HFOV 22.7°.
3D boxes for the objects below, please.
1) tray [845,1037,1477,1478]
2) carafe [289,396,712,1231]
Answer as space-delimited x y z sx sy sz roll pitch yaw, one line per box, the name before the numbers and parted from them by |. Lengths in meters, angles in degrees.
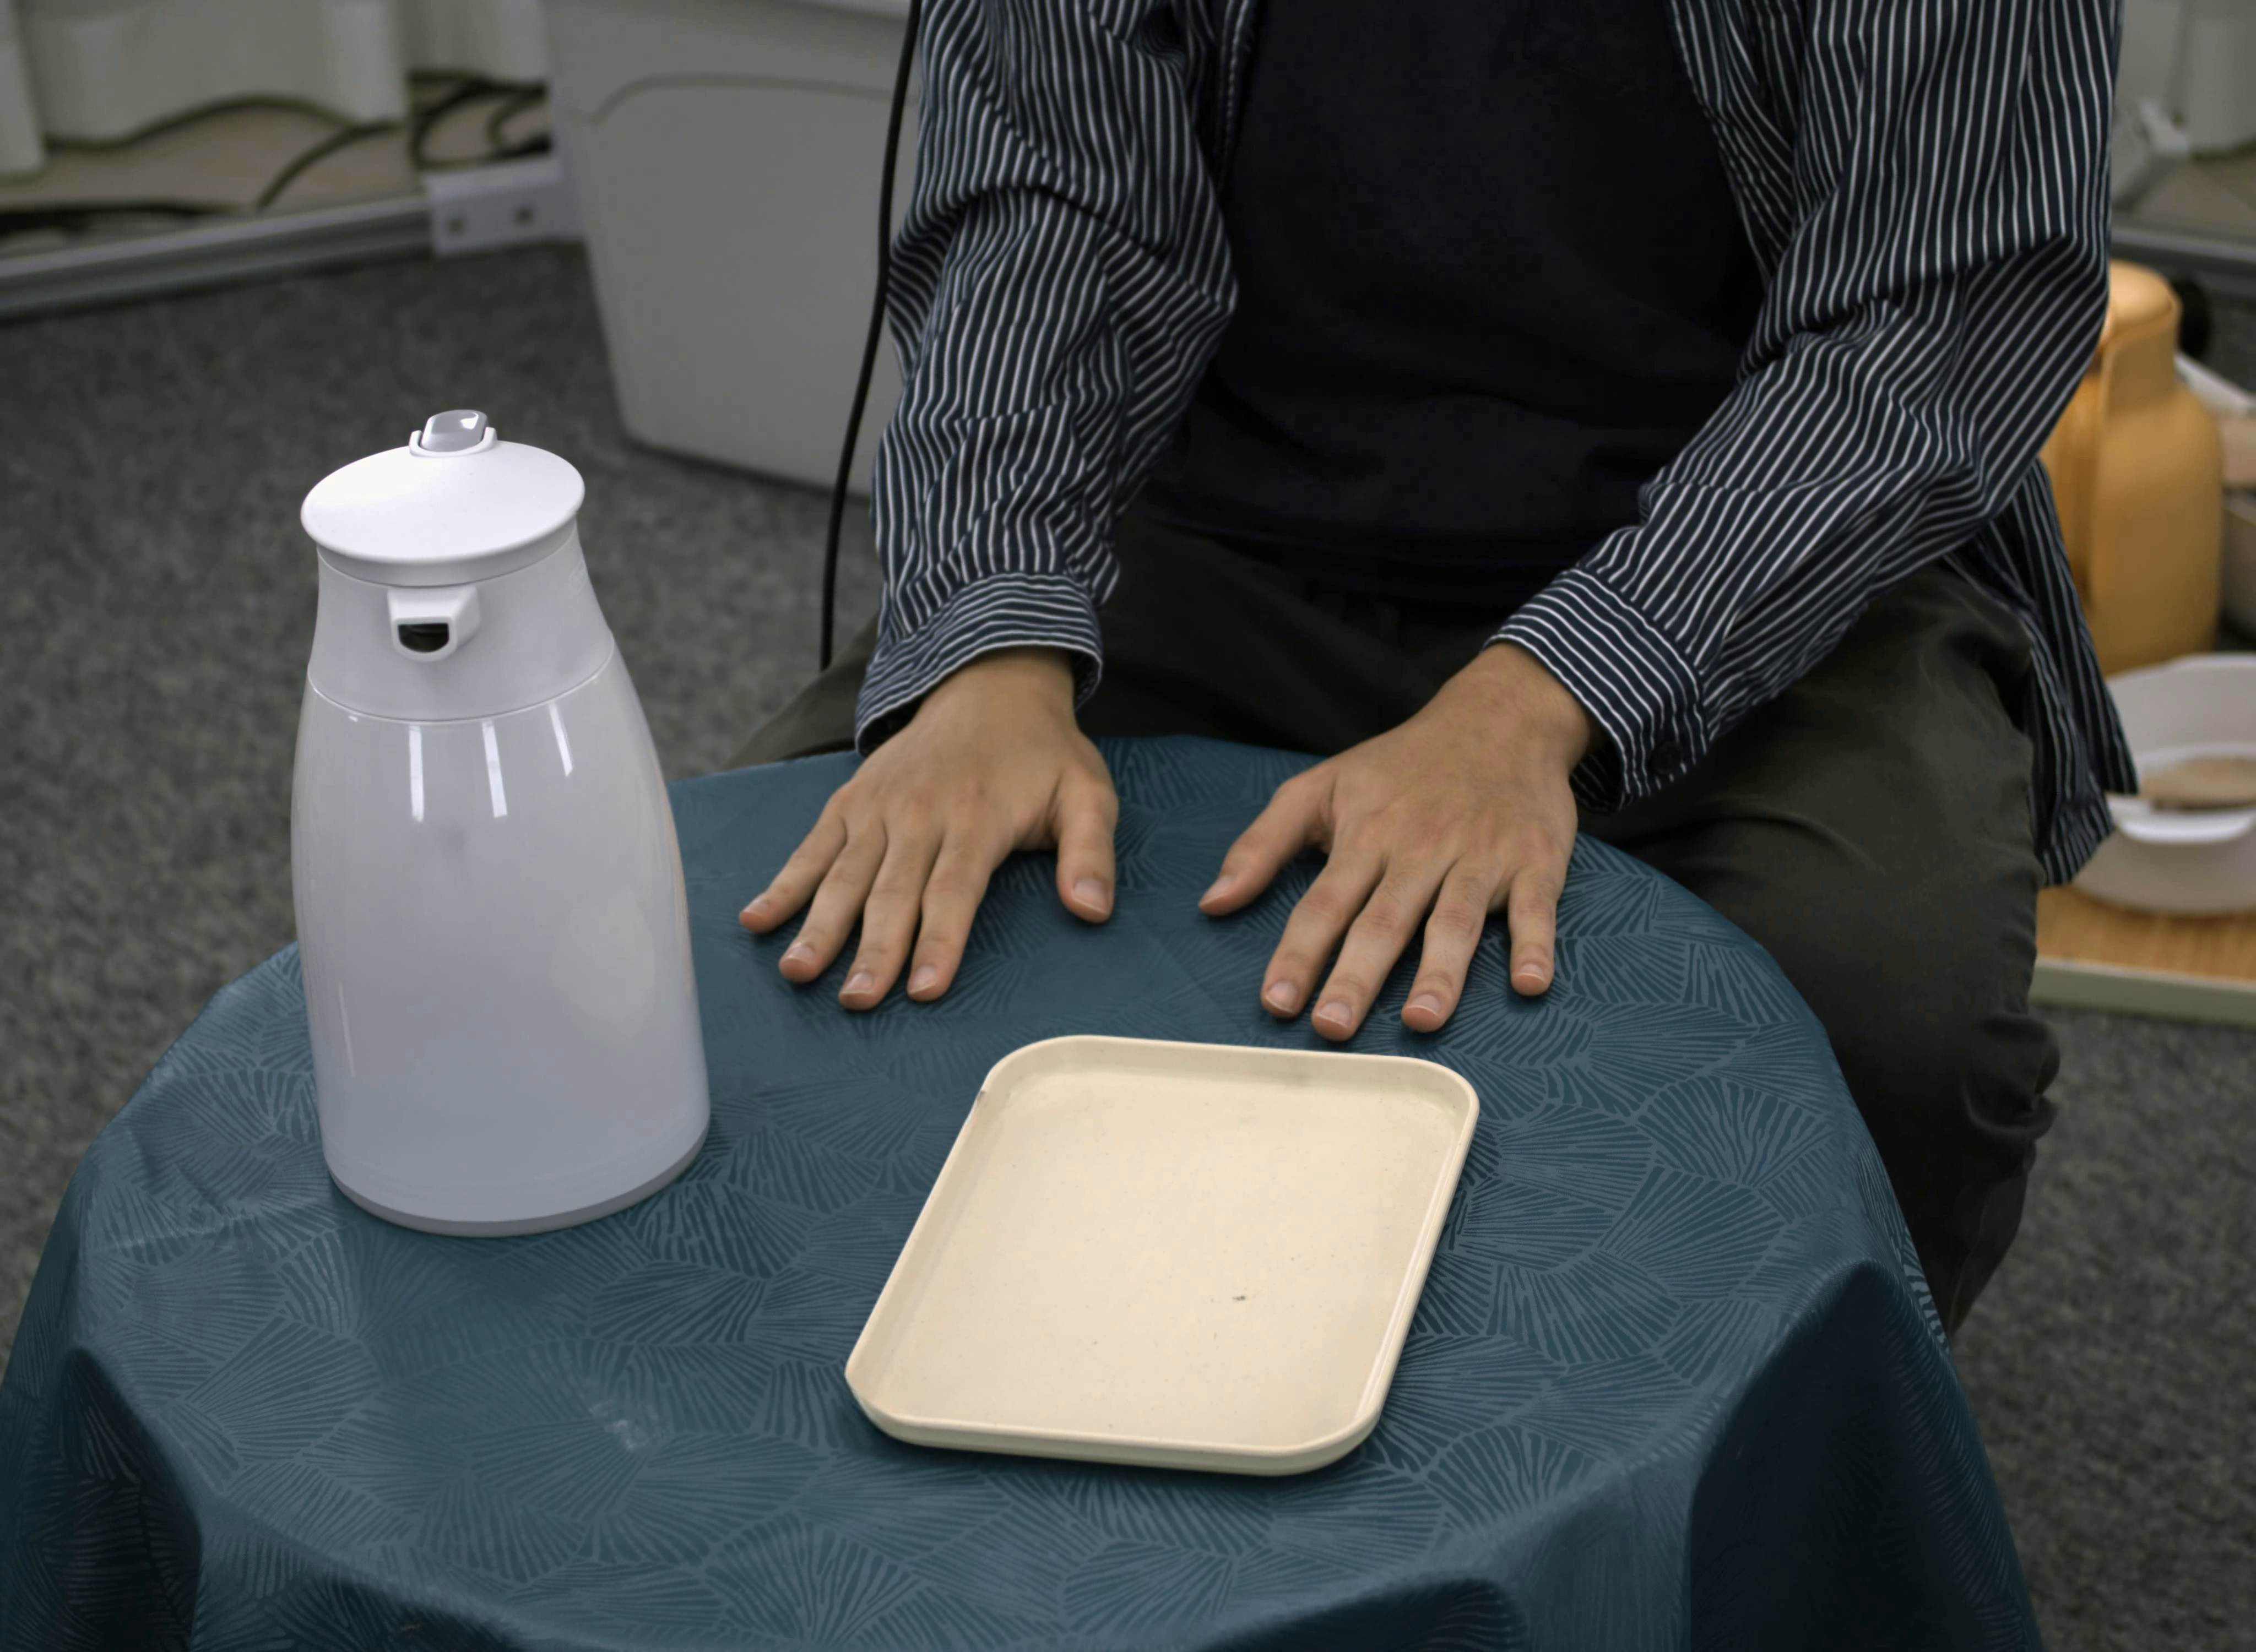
tray | 0.014 0.137 1.805 0.170 0.017 0.244 4 28 12
carafe | -0.216 -0.014 1.870 0.132 0.246 0.170 -5 25 -2
